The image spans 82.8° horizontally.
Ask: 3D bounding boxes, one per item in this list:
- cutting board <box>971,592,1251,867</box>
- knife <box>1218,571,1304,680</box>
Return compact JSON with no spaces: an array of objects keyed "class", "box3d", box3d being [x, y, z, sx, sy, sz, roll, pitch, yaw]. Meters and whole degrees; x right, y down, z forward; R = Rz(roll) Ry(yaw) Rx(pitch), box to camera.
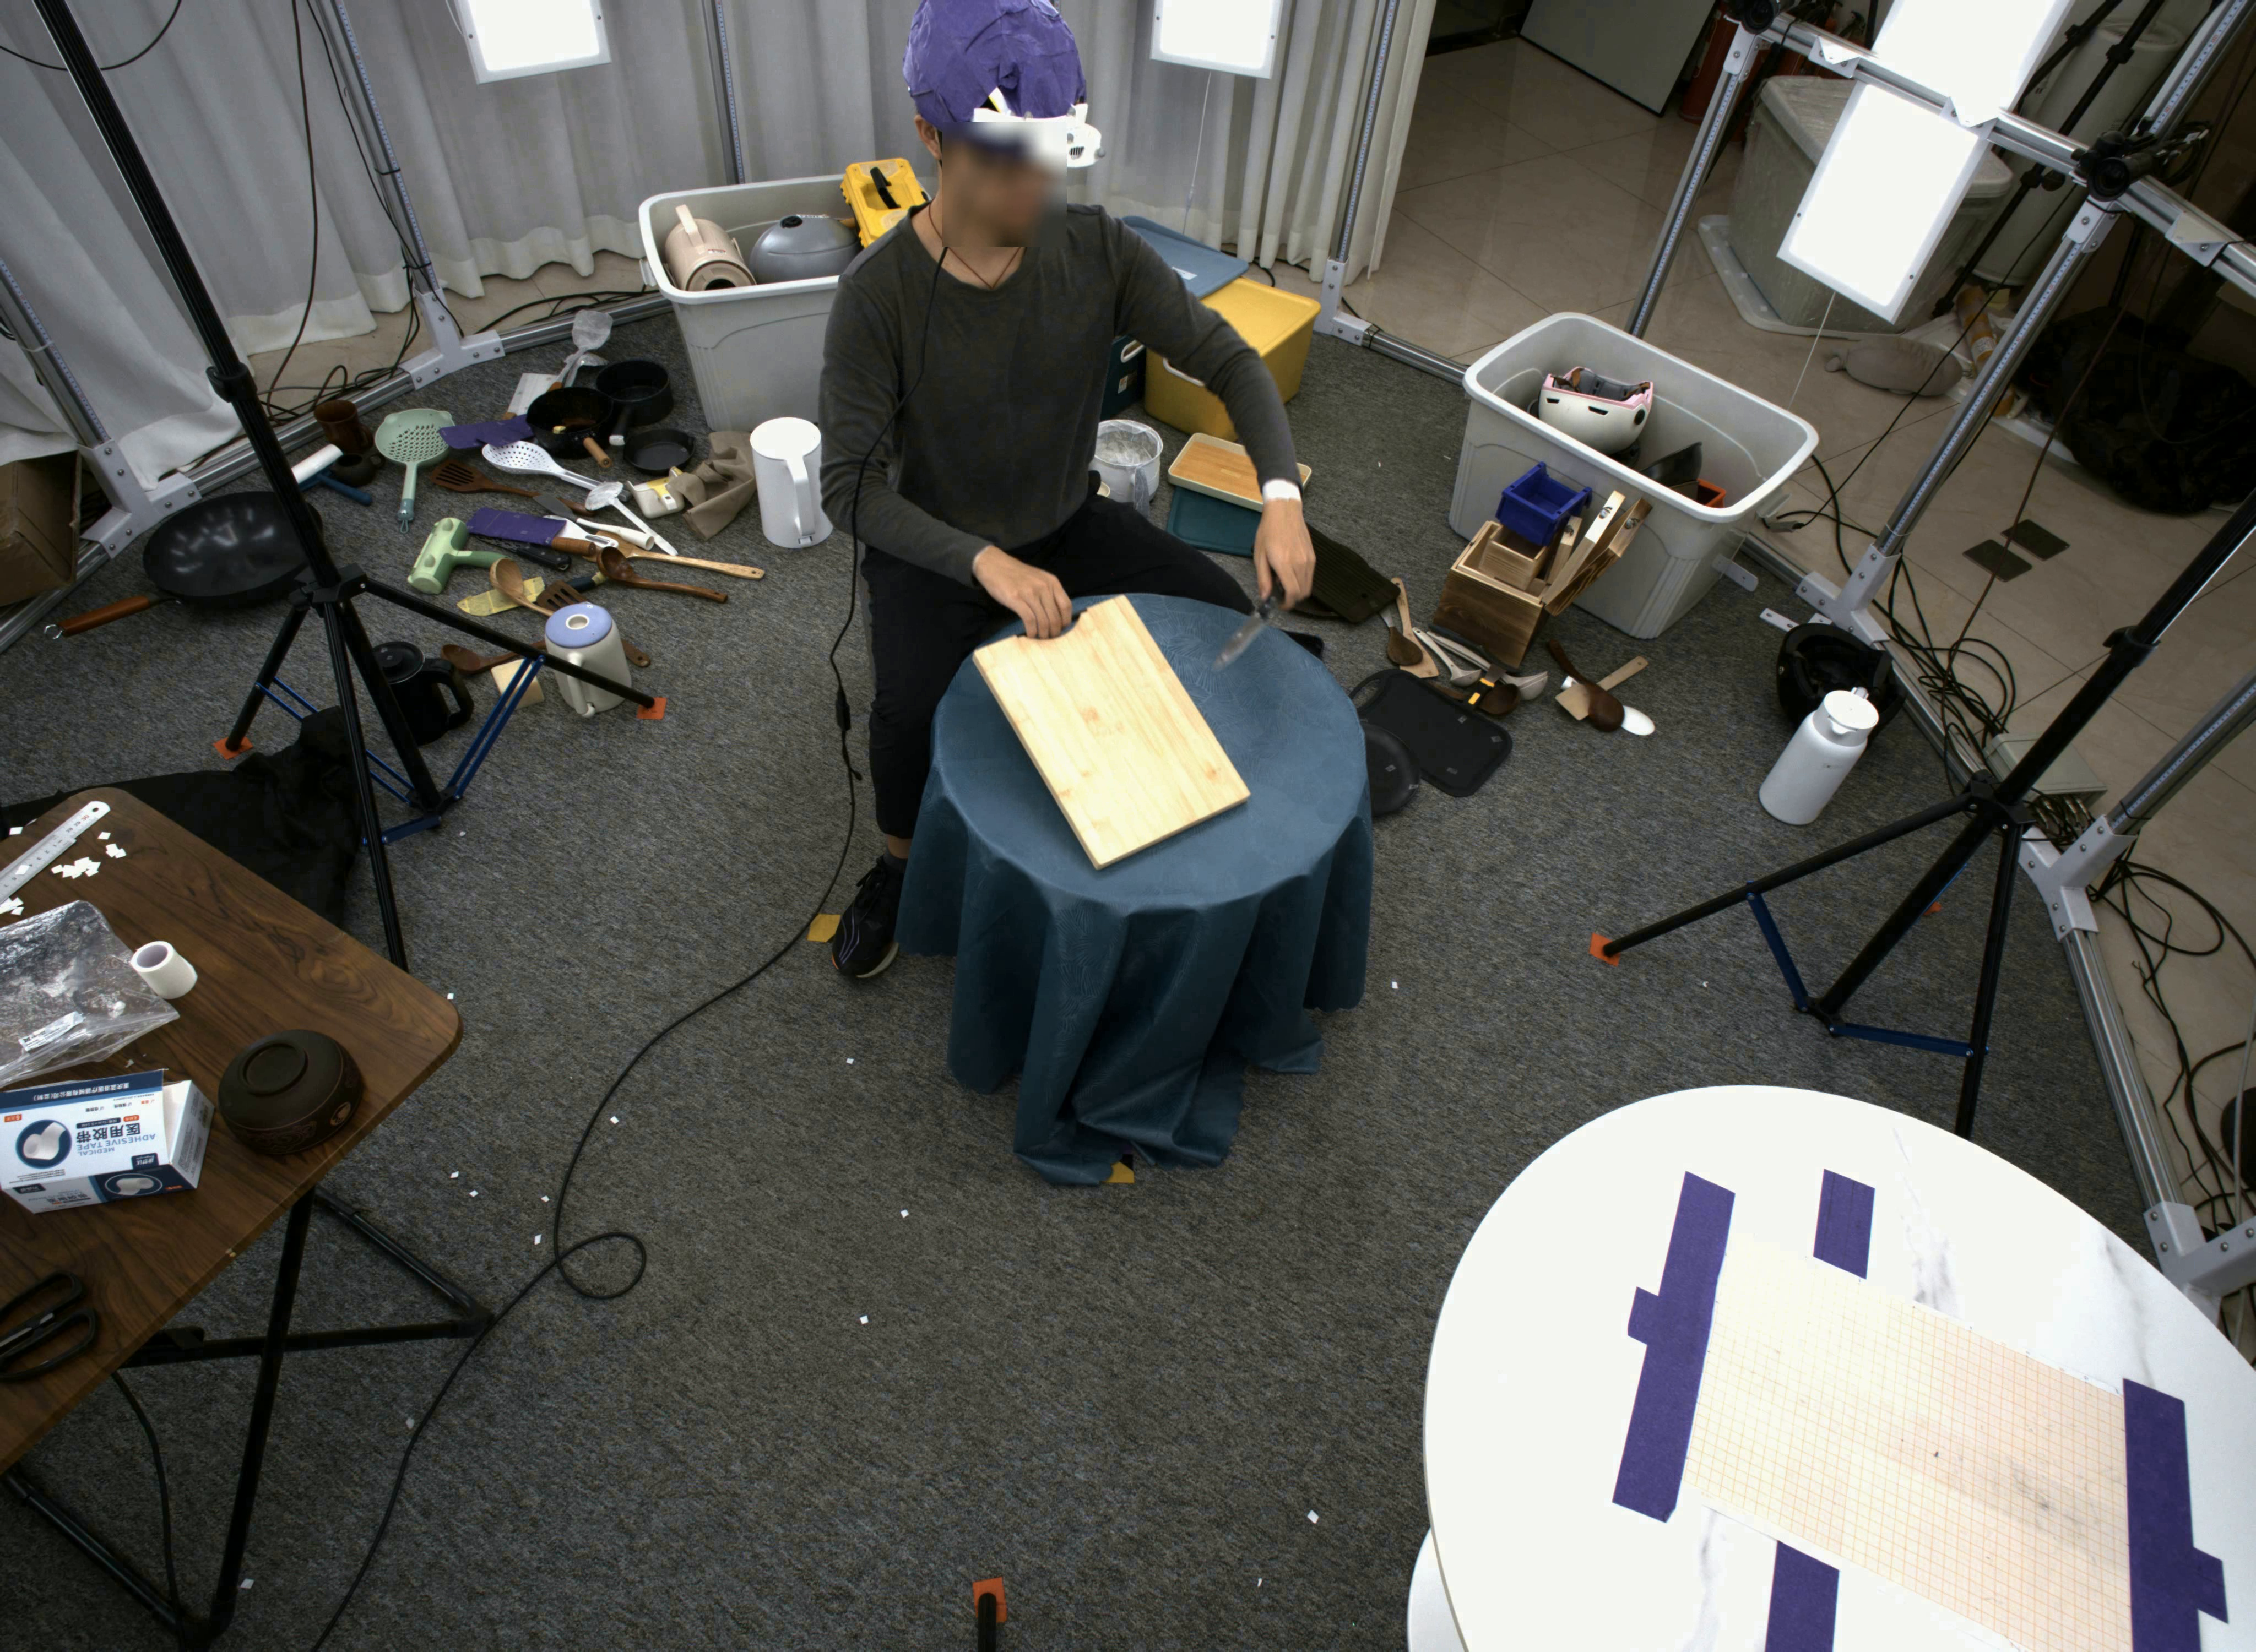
[{"class":"cutting board","box3d":[-0.024,-0.135,1.707,0.252,0.023,0.353,-24,72,-23]},{"class":"knife","box3d":[0.176,-0.270,1.714,0.024,0.016,0.242,41,56,-5]}]
